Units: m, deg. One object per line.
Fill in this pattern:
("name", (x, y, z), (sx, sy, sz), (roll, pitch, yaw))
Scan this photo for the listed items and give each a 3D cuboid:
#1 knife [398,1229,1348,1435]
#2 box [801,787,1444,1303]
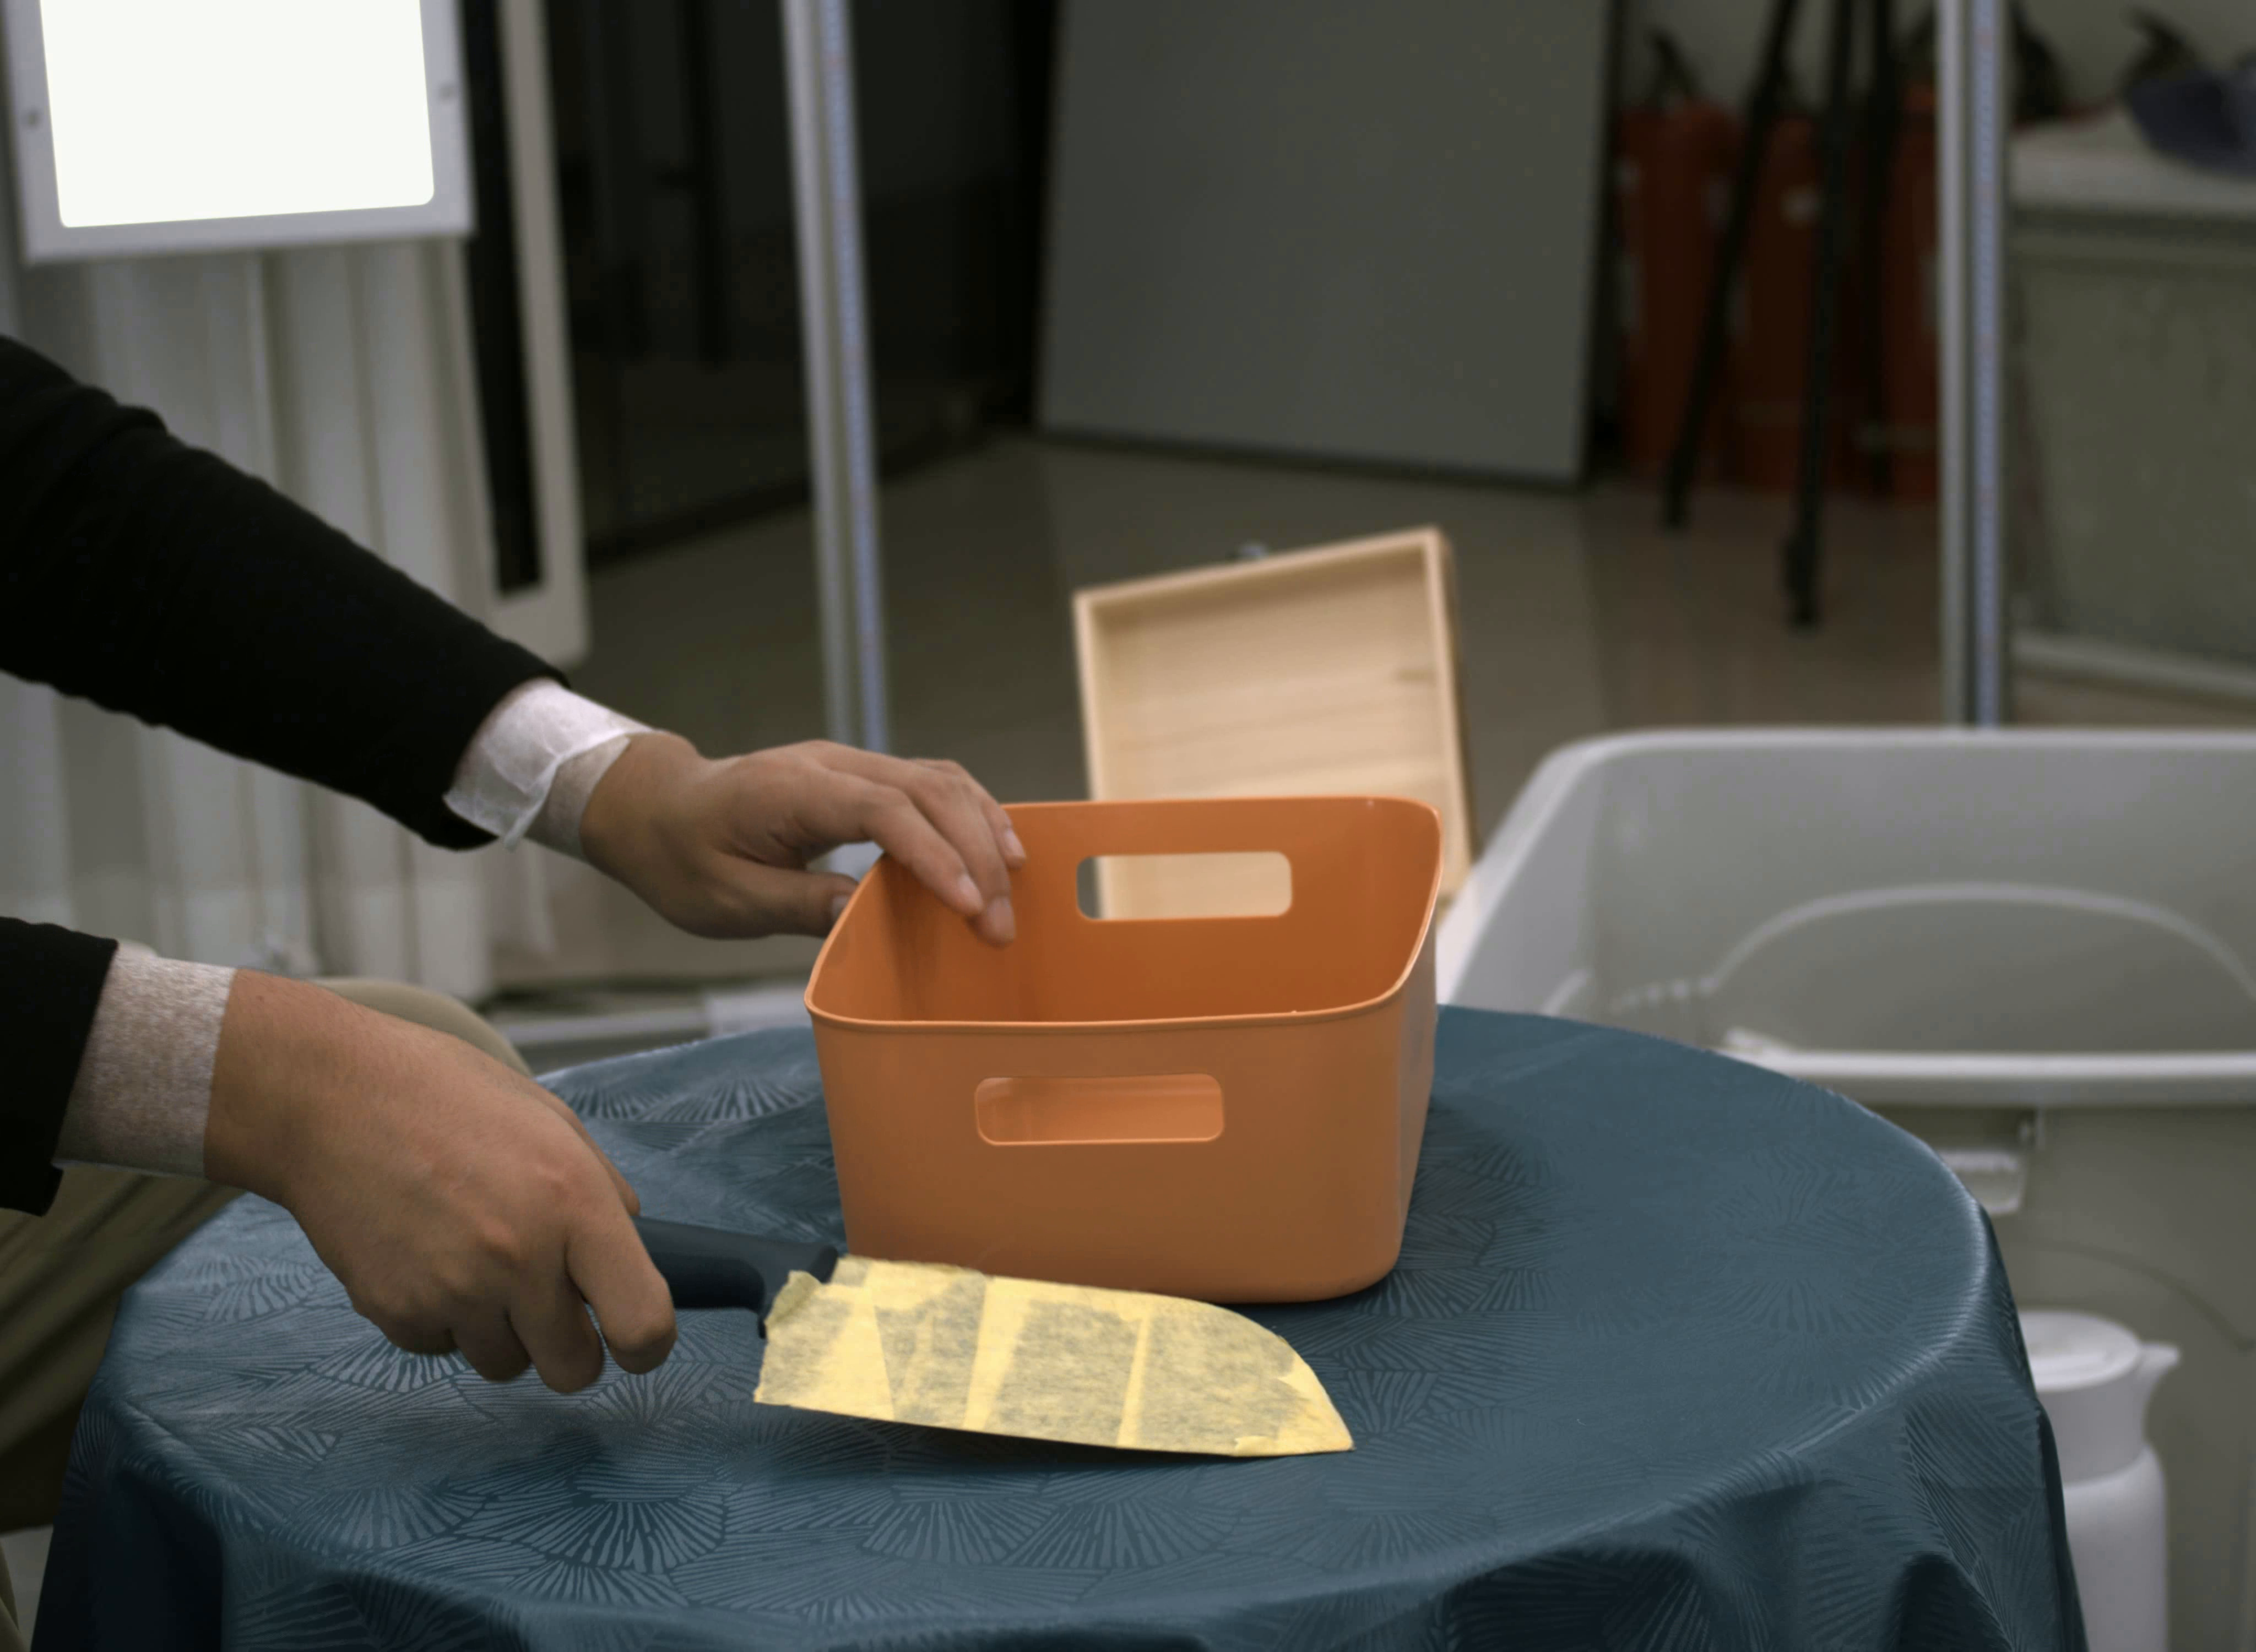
("knife", (-0.076, 0.149, 1.564), (0.287, 0.027, 0.081), (6, 26, 10))
("box", (0.005, 0.070, 1.756), (0.197, 0.104, 0.272), (-1, 14, 8))
